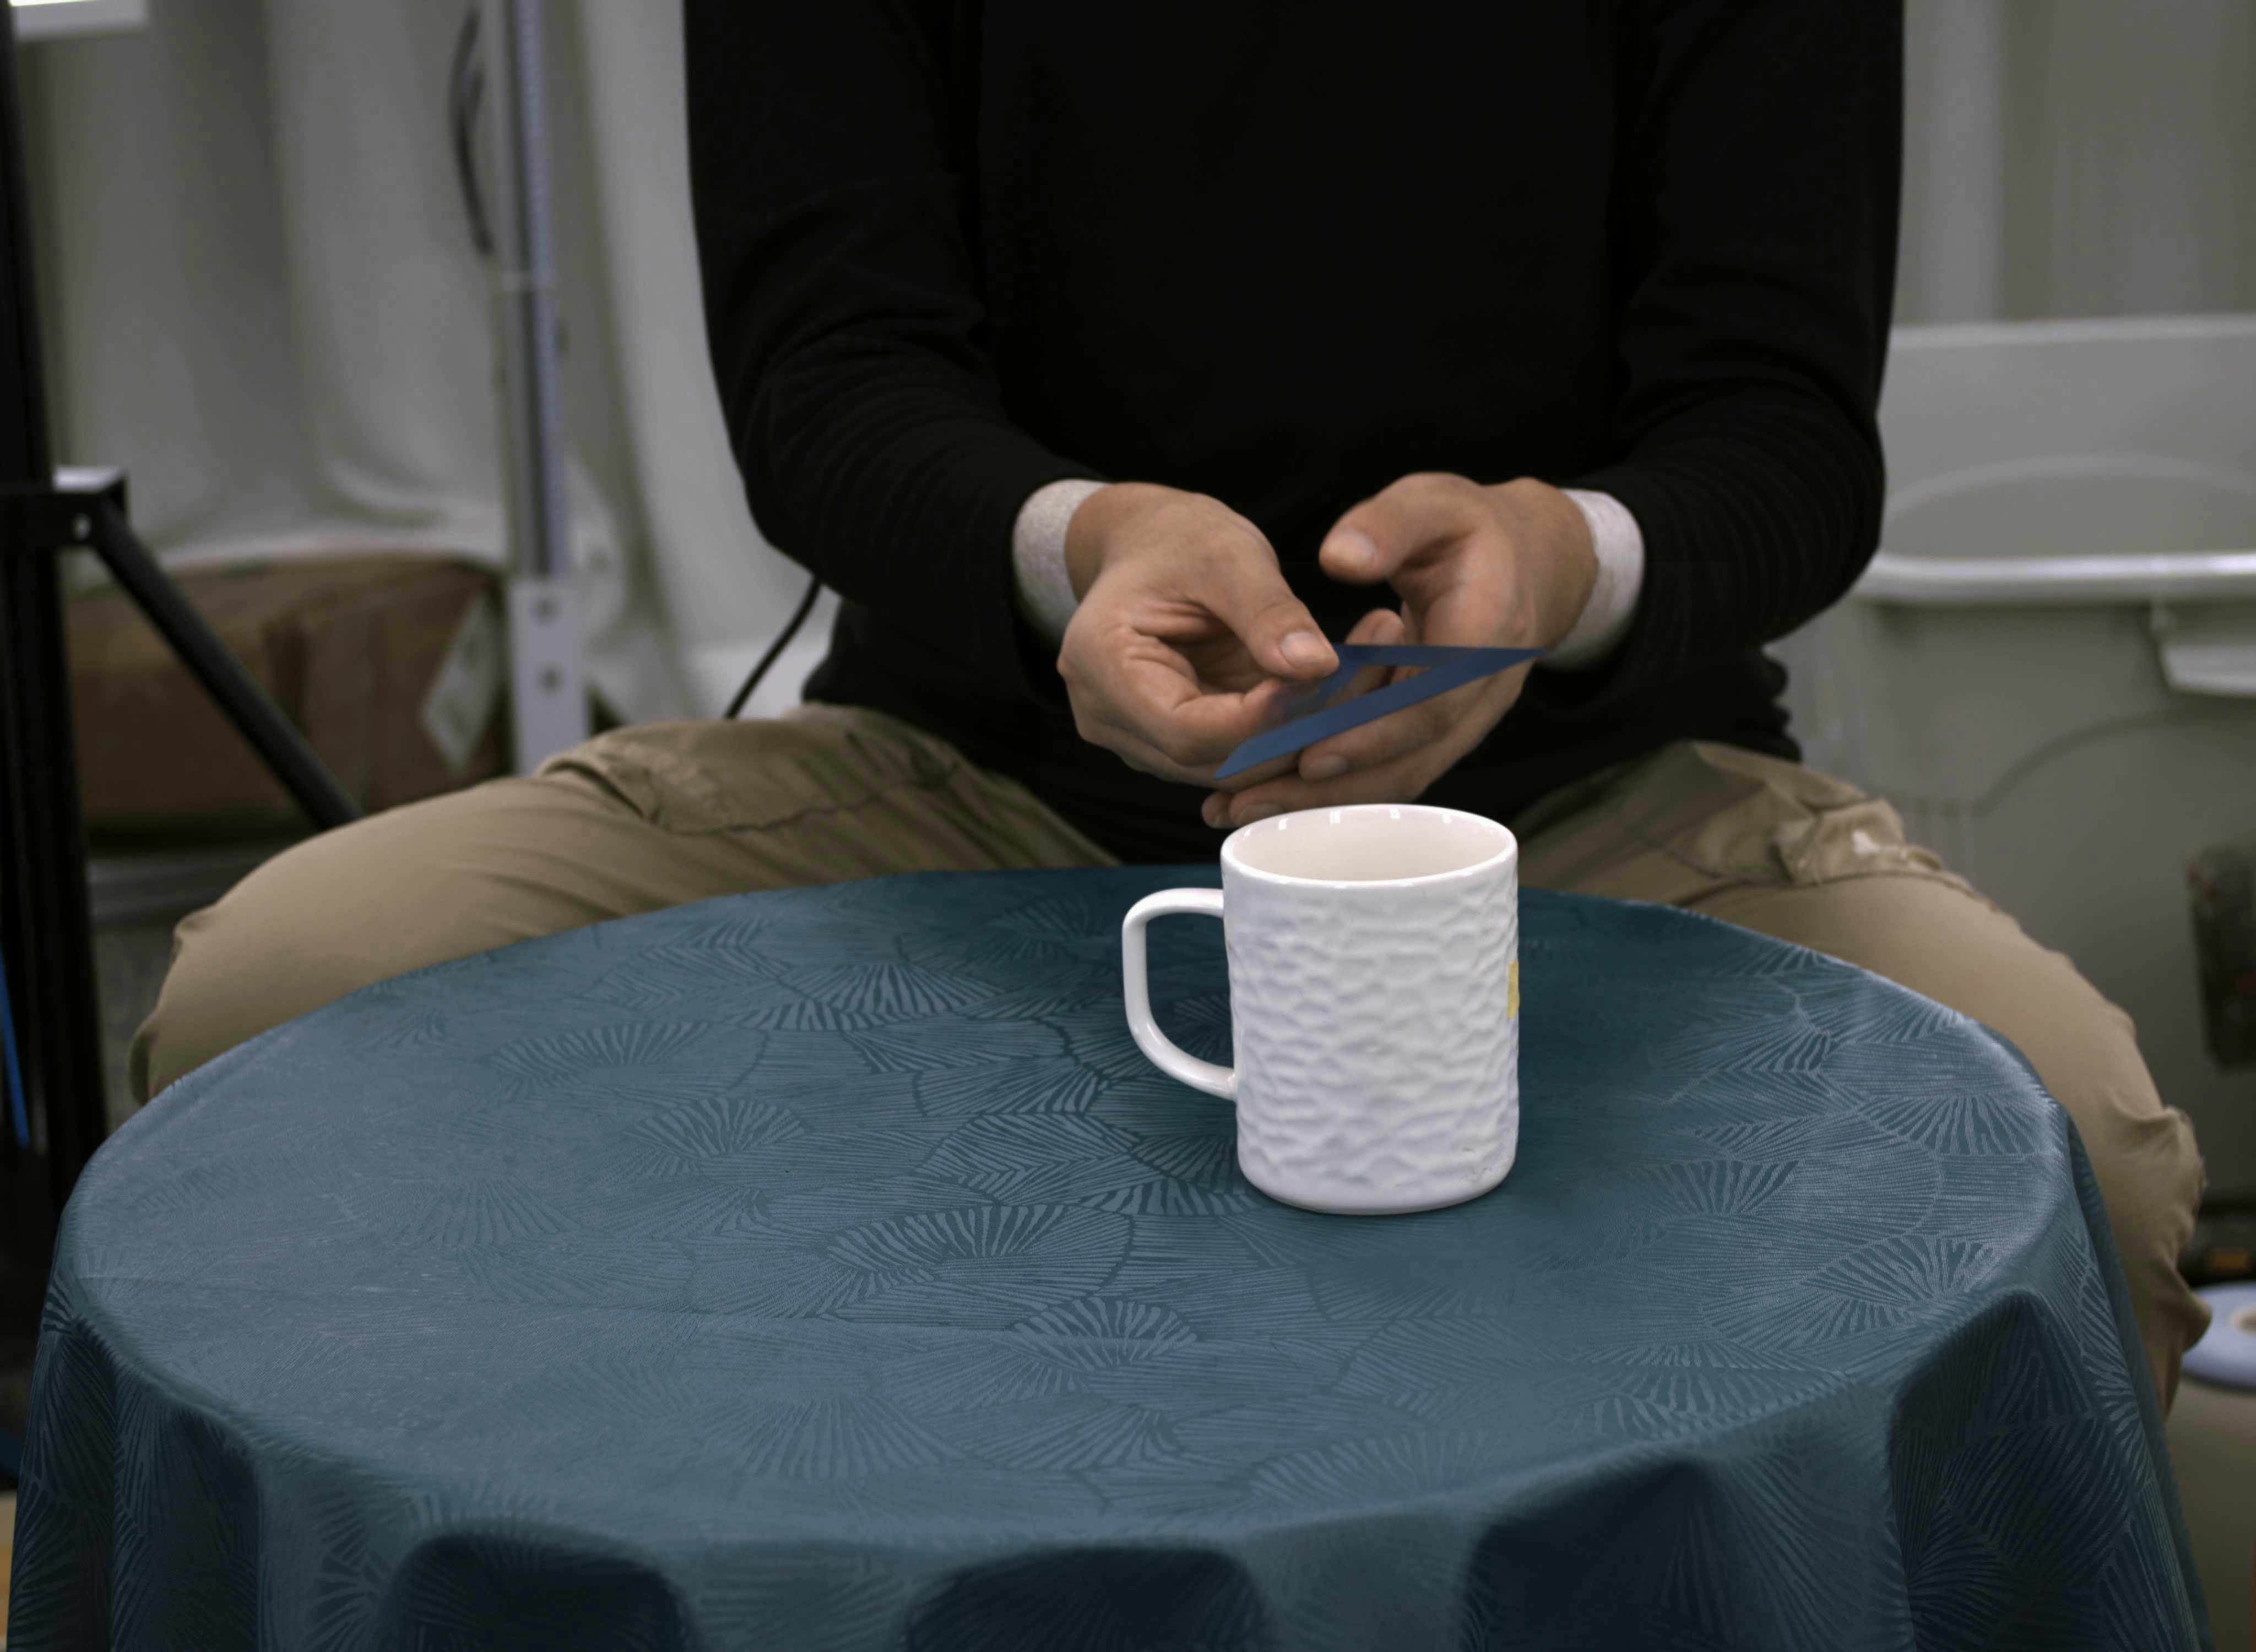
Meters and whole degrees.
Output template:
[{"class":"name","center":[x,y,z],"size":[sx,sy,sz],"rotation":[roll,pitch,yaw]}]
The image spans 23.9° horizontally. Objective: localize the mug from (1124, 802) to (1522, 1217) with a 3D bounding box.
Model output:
[{"class":"mug","center":[0.057,0.053,1.555],"size":[0.119,0.102,0.084],"rotation":[2,16,16]}]

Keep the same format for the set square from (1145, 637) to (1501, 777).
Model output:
[{"class":"set square","center":[0.045,-0.040,1.593],"size":[0.129,0.006,0.062],"rotation":[-20,26,-33]}]
